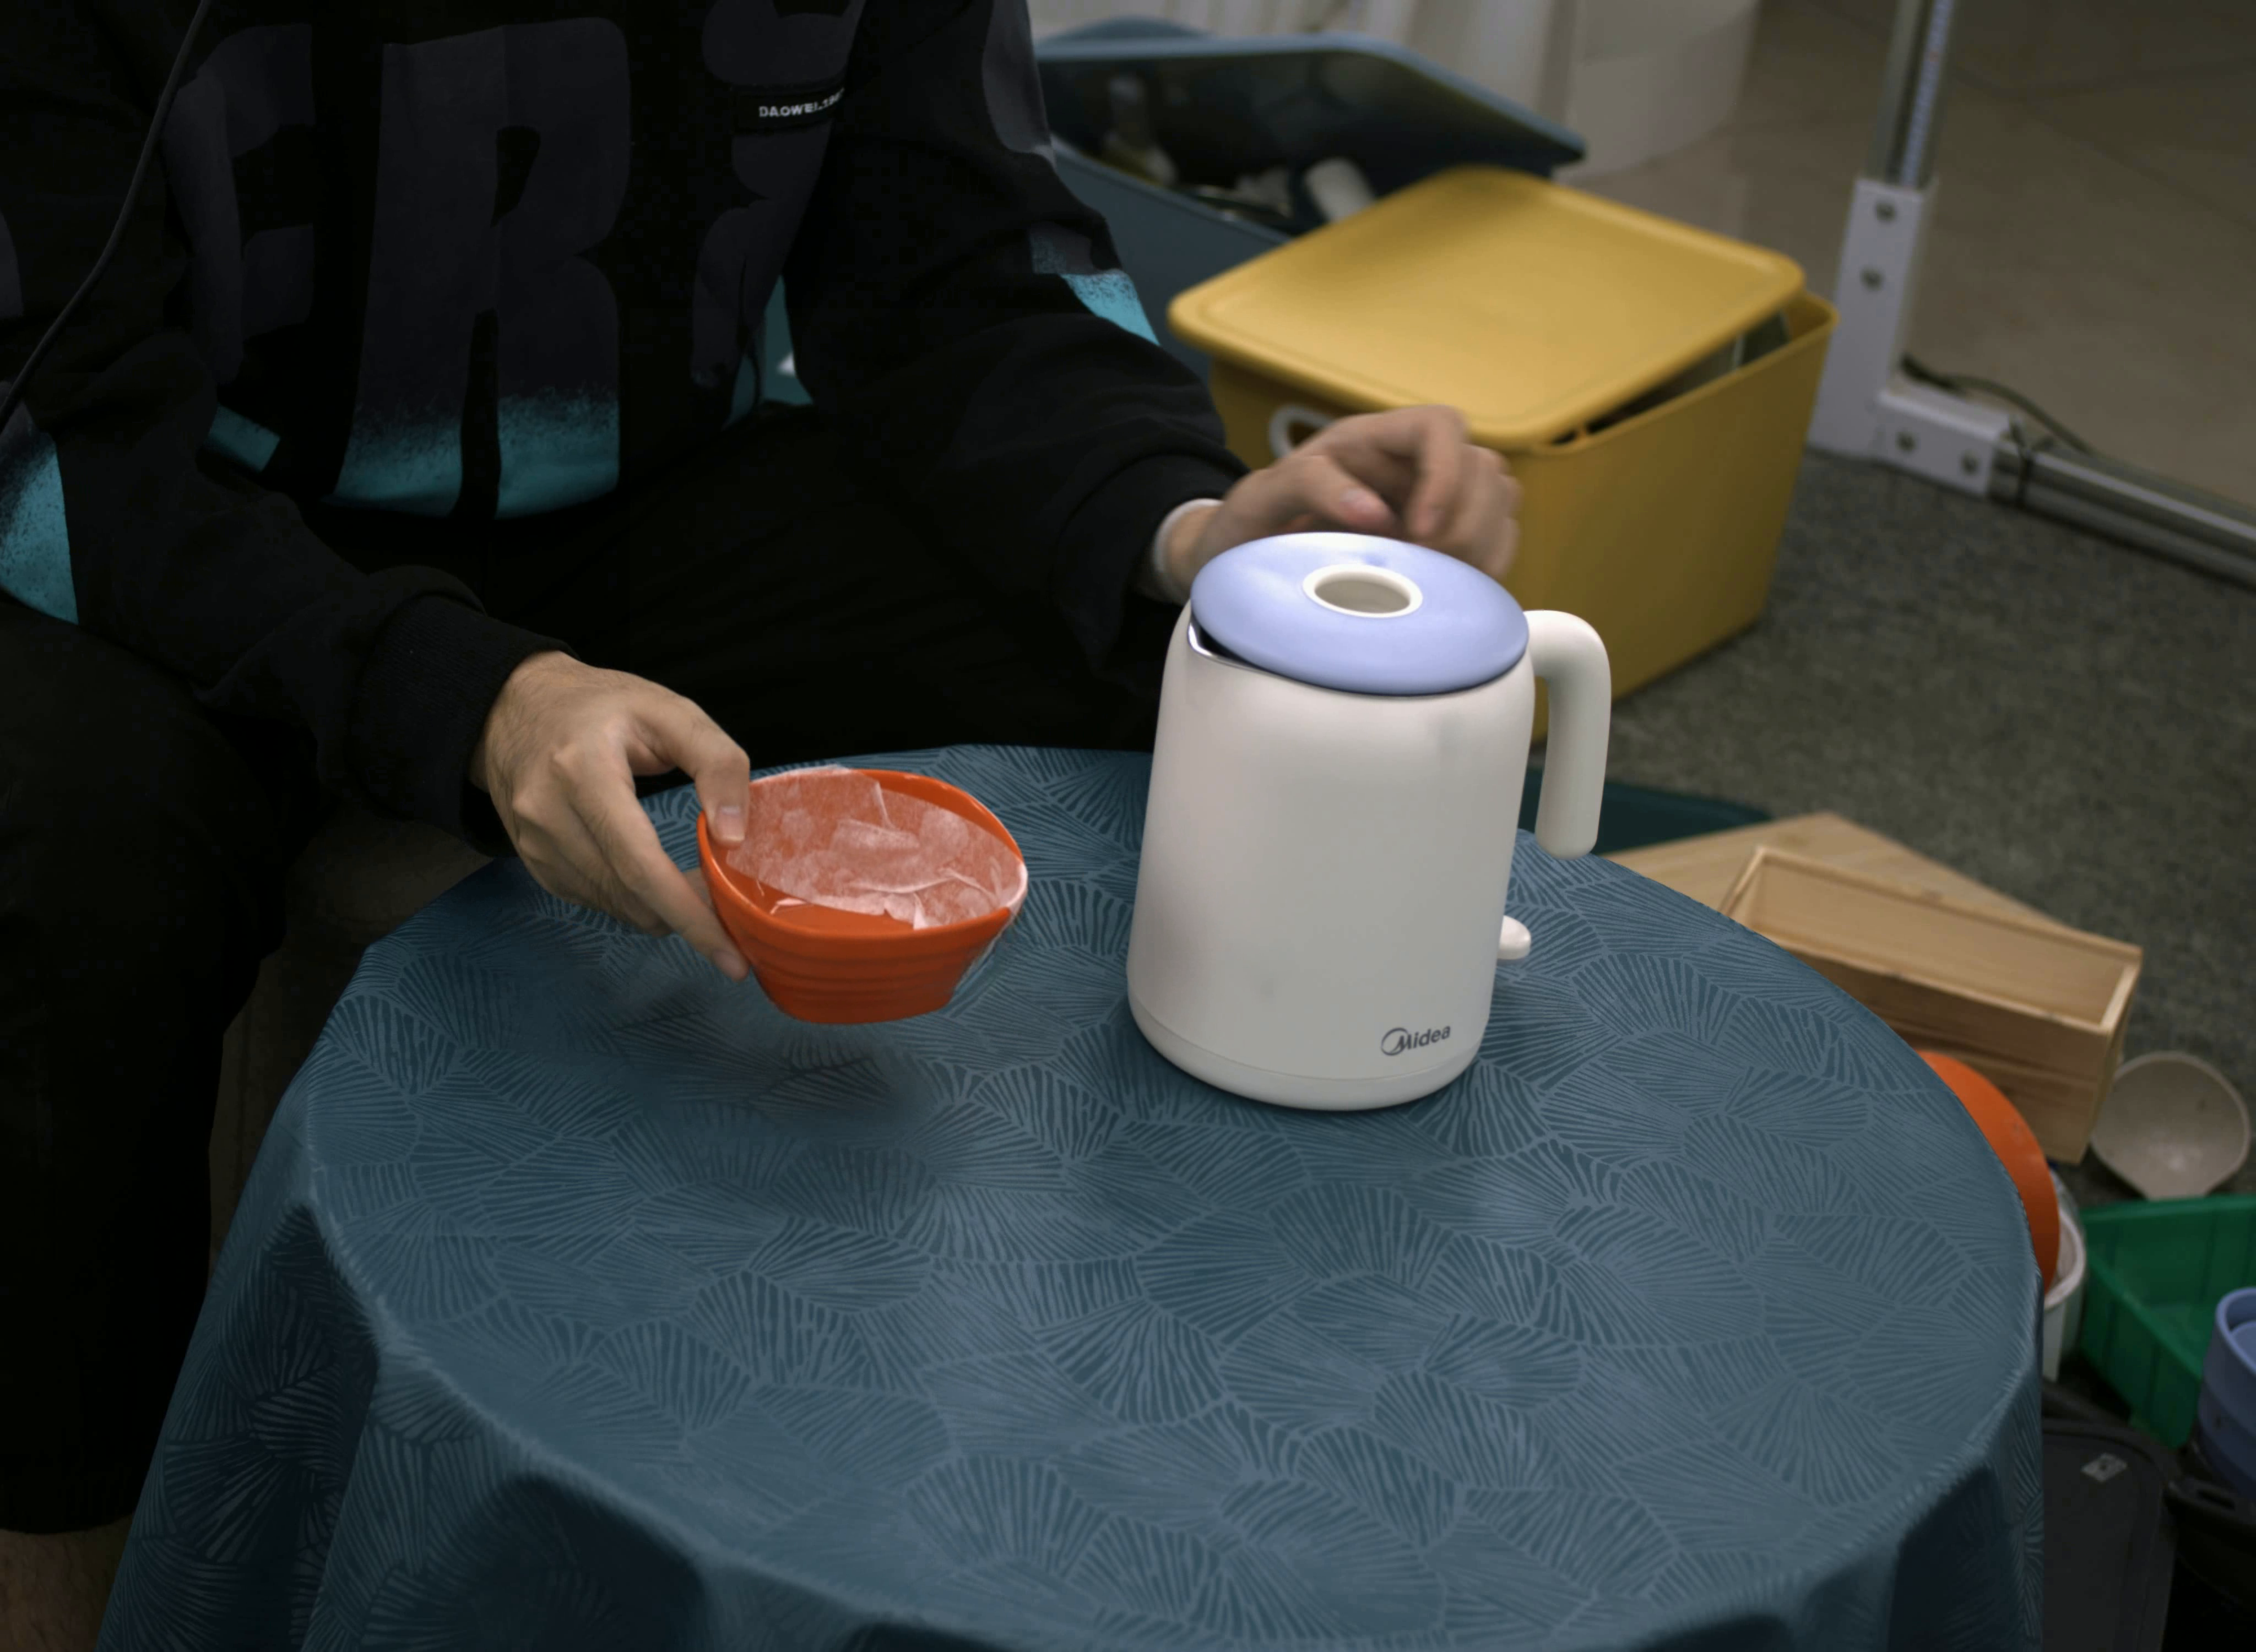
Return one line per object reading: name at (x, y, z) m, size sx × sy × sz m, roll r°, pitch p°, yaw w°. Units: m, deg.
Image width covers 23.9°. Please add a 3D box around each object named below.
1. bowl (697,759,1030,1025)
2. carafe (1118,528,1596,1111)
bowl at (-0.092, 0.028, 1.826) m, size 0.118 × 0.051 × 0.120 m, roll 4°, pitch 33°, yaw -3°
carafe at (0.090, -0.006, 1.888) m, size 0.190 × 0.182 × 0.133 m, roll -10°, pitch 32°, yaw -34°
